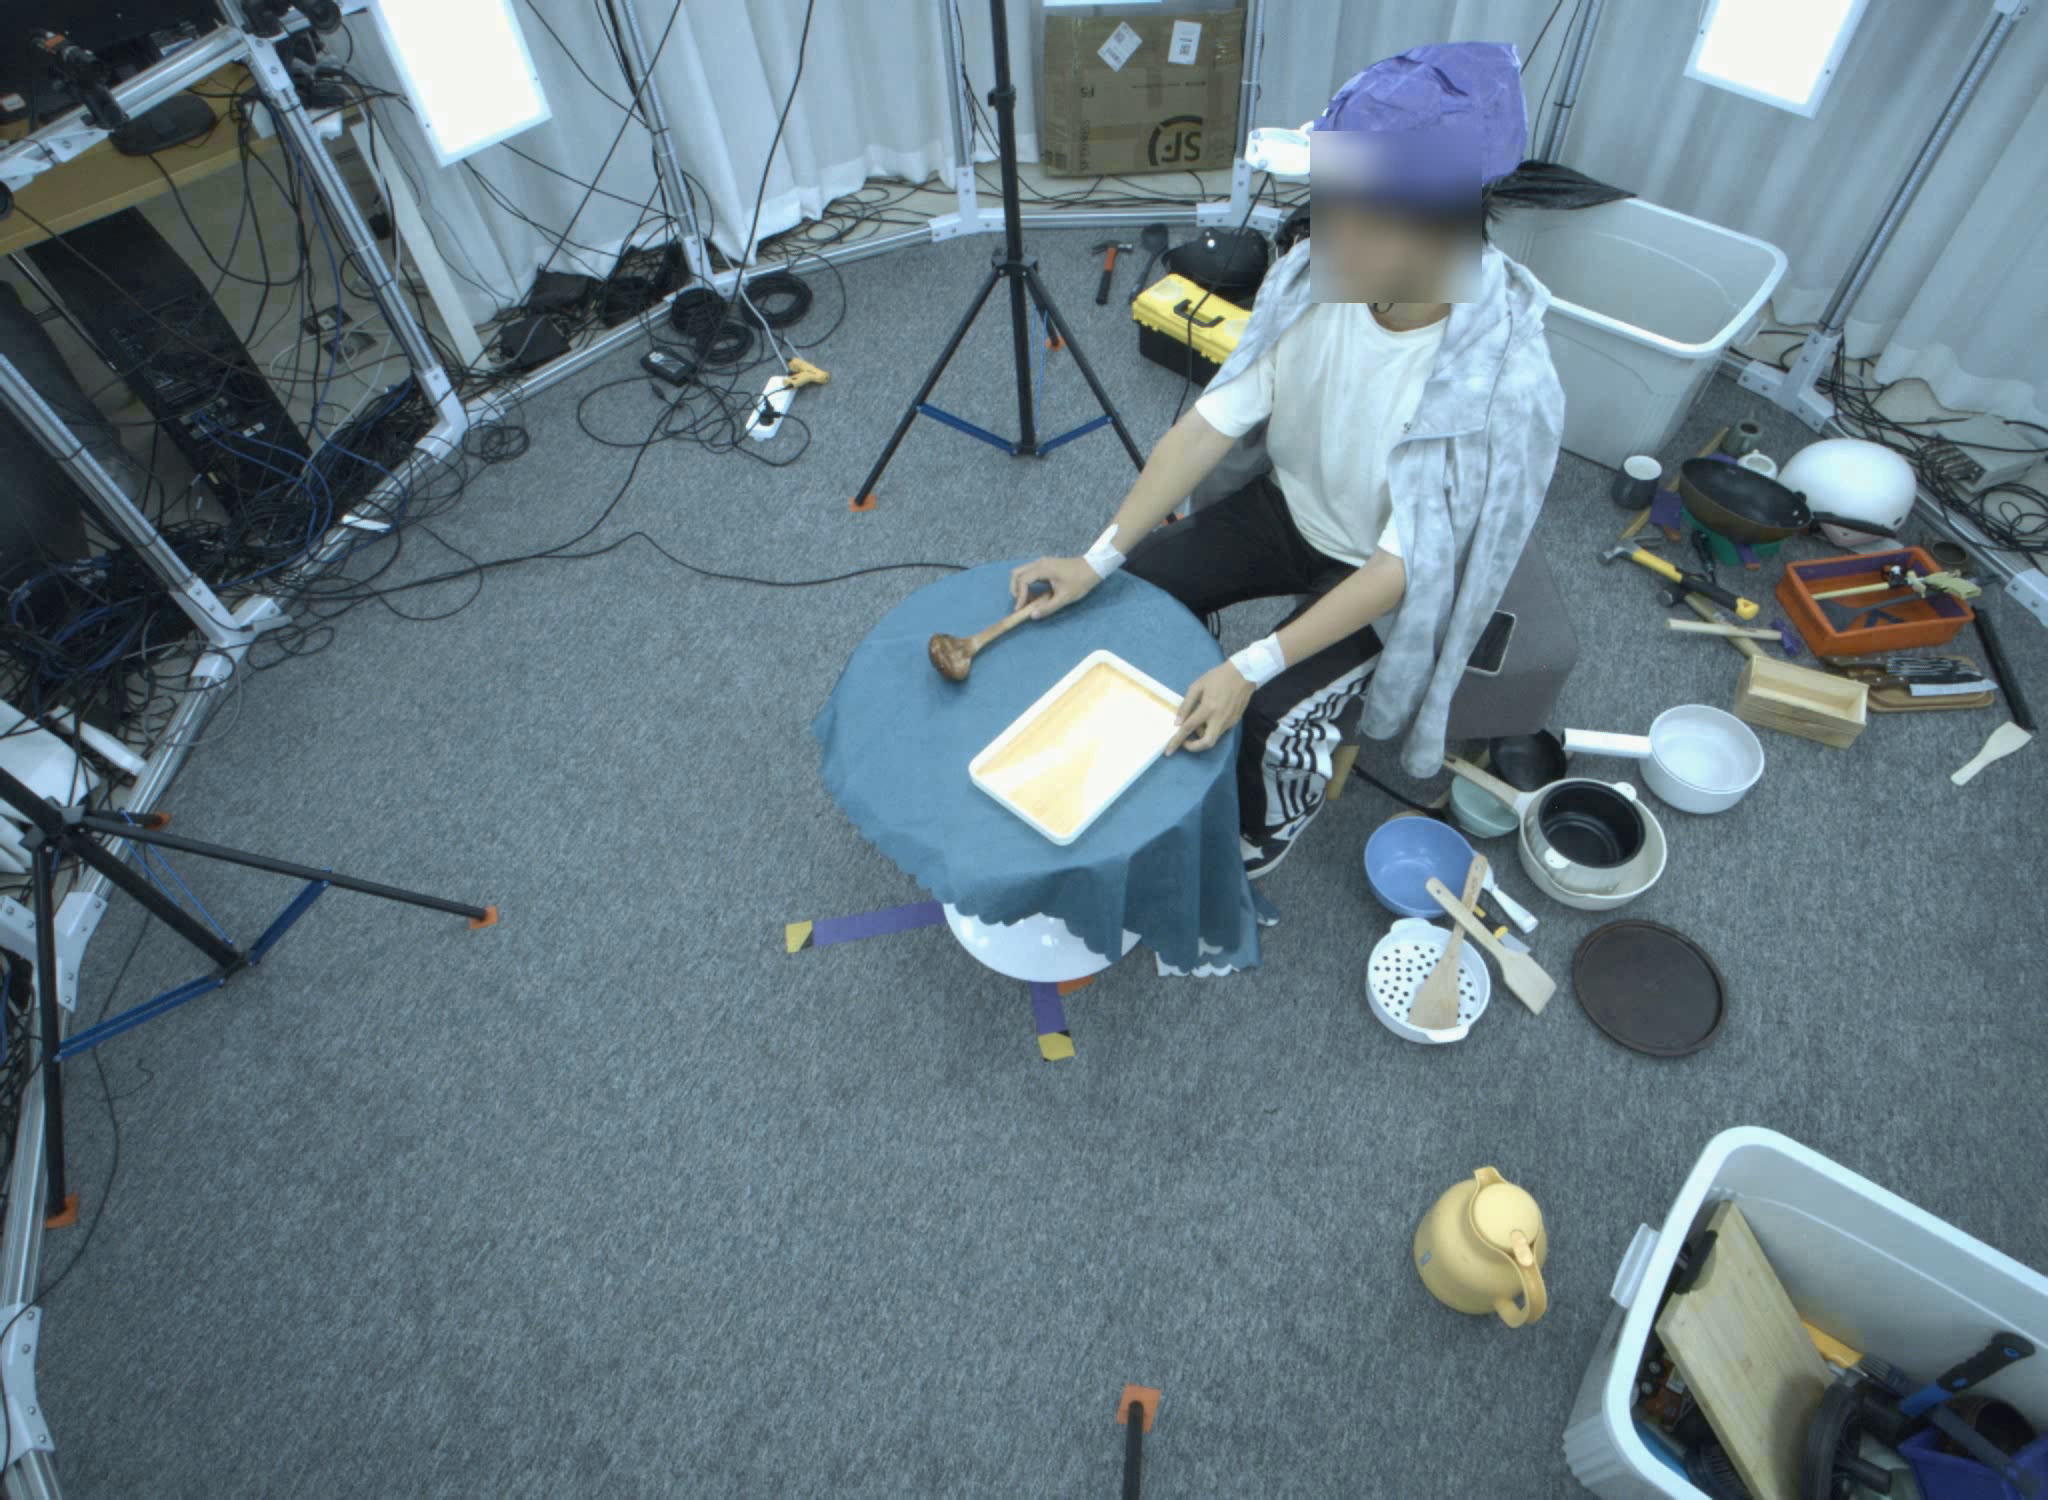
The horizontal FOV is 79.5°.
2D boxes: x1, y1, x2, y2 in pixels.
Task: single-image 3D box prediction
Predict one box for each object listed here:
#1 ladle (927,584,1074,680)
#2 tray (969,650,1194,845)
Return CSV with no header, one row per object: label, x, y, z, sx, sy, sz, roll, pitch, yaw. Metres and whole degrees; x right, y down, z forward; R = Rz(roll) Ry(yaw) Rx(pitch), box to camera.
ladle,-0.029,-0.195,1.882,0.276,0.076,0.082,-31,96,-18
tray,0.085,-0.010,1.777,0.188,0.028,0.302,36,63,24
